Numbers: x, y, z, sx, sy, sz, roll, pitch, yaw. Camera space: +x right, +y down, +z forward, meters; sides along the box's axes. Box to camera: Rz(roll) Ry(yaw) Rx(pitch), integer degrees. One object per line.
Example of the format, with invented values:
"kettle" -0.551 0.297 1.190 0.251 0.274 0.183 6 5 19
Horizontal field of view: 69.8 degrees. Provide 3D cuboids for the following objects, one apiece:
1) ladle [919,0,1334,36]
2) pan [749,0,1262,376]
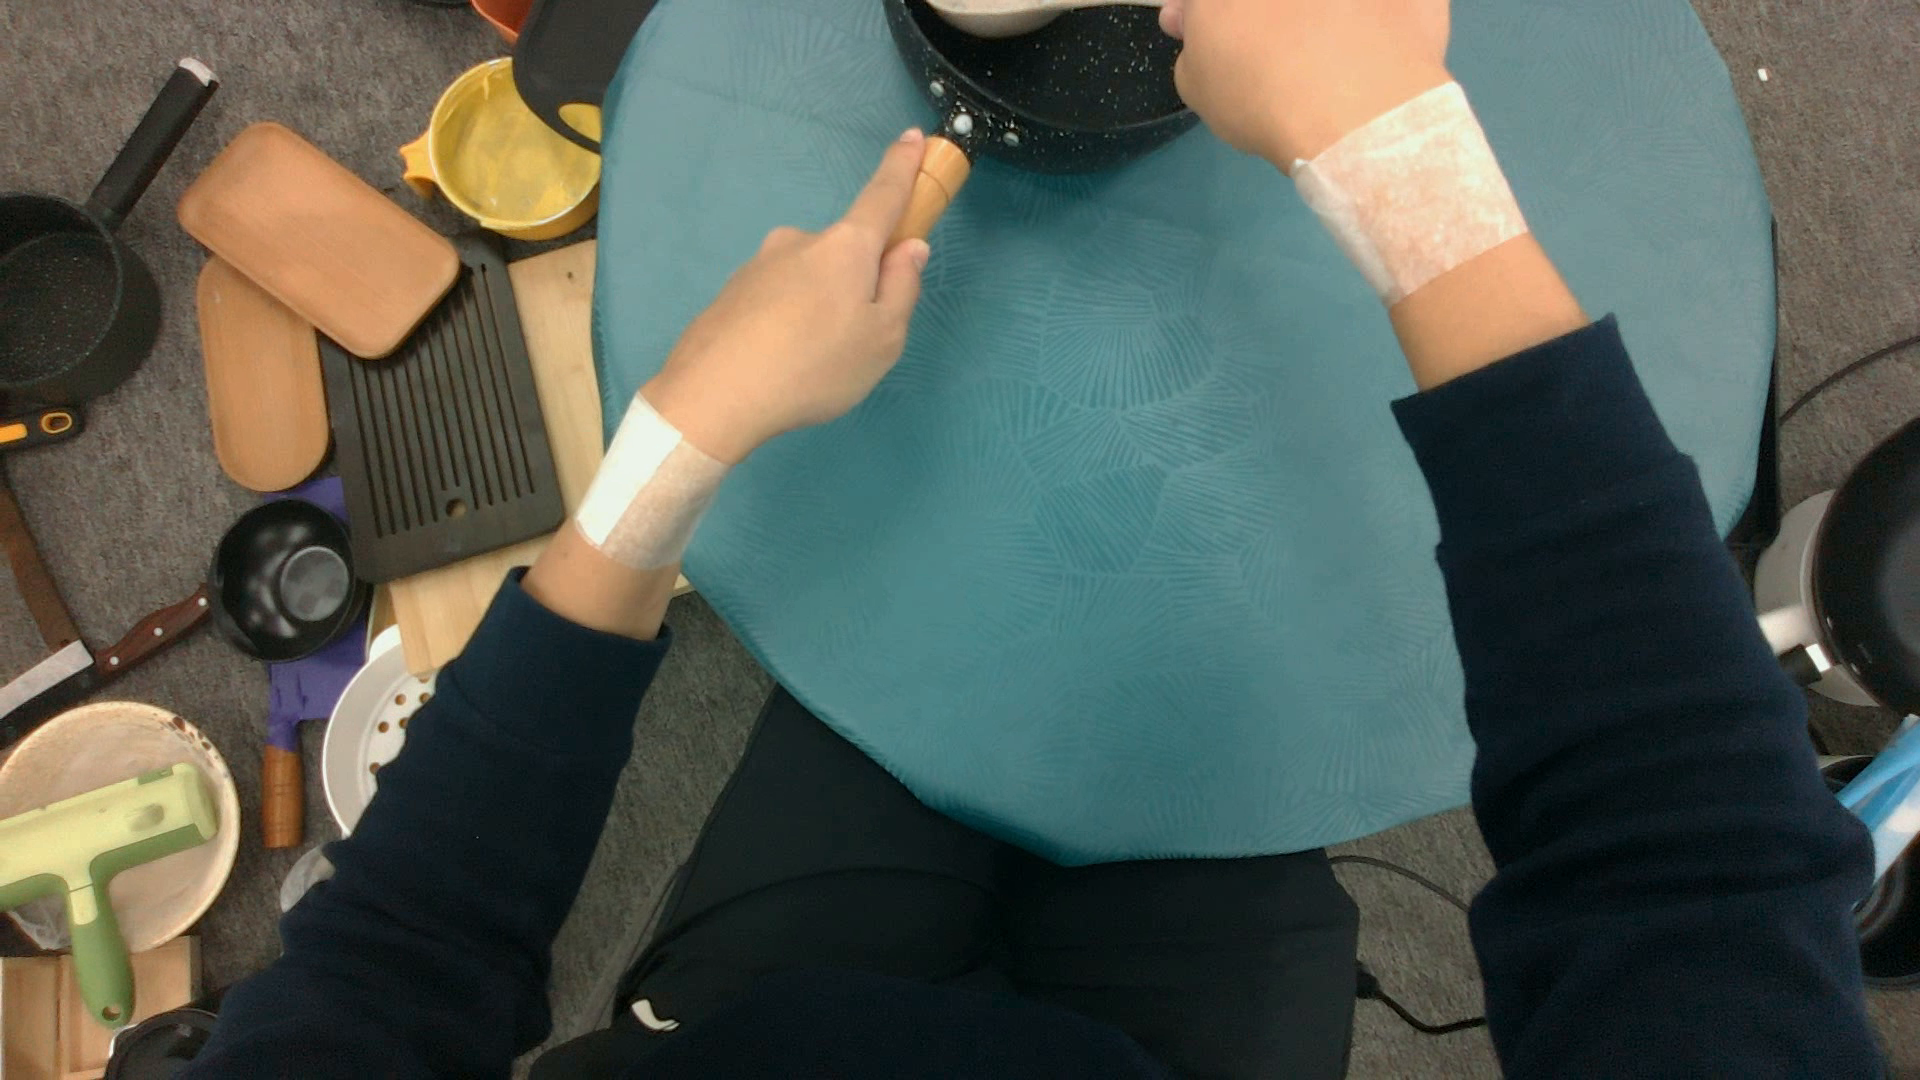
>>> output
"ladle" 0.058 -0.251 0.576 0.089 0.275 0.069 -22 118 -19
"pan" 0.006 -0.204 0.630 0.207 0.108 0.343 31 77 -3
